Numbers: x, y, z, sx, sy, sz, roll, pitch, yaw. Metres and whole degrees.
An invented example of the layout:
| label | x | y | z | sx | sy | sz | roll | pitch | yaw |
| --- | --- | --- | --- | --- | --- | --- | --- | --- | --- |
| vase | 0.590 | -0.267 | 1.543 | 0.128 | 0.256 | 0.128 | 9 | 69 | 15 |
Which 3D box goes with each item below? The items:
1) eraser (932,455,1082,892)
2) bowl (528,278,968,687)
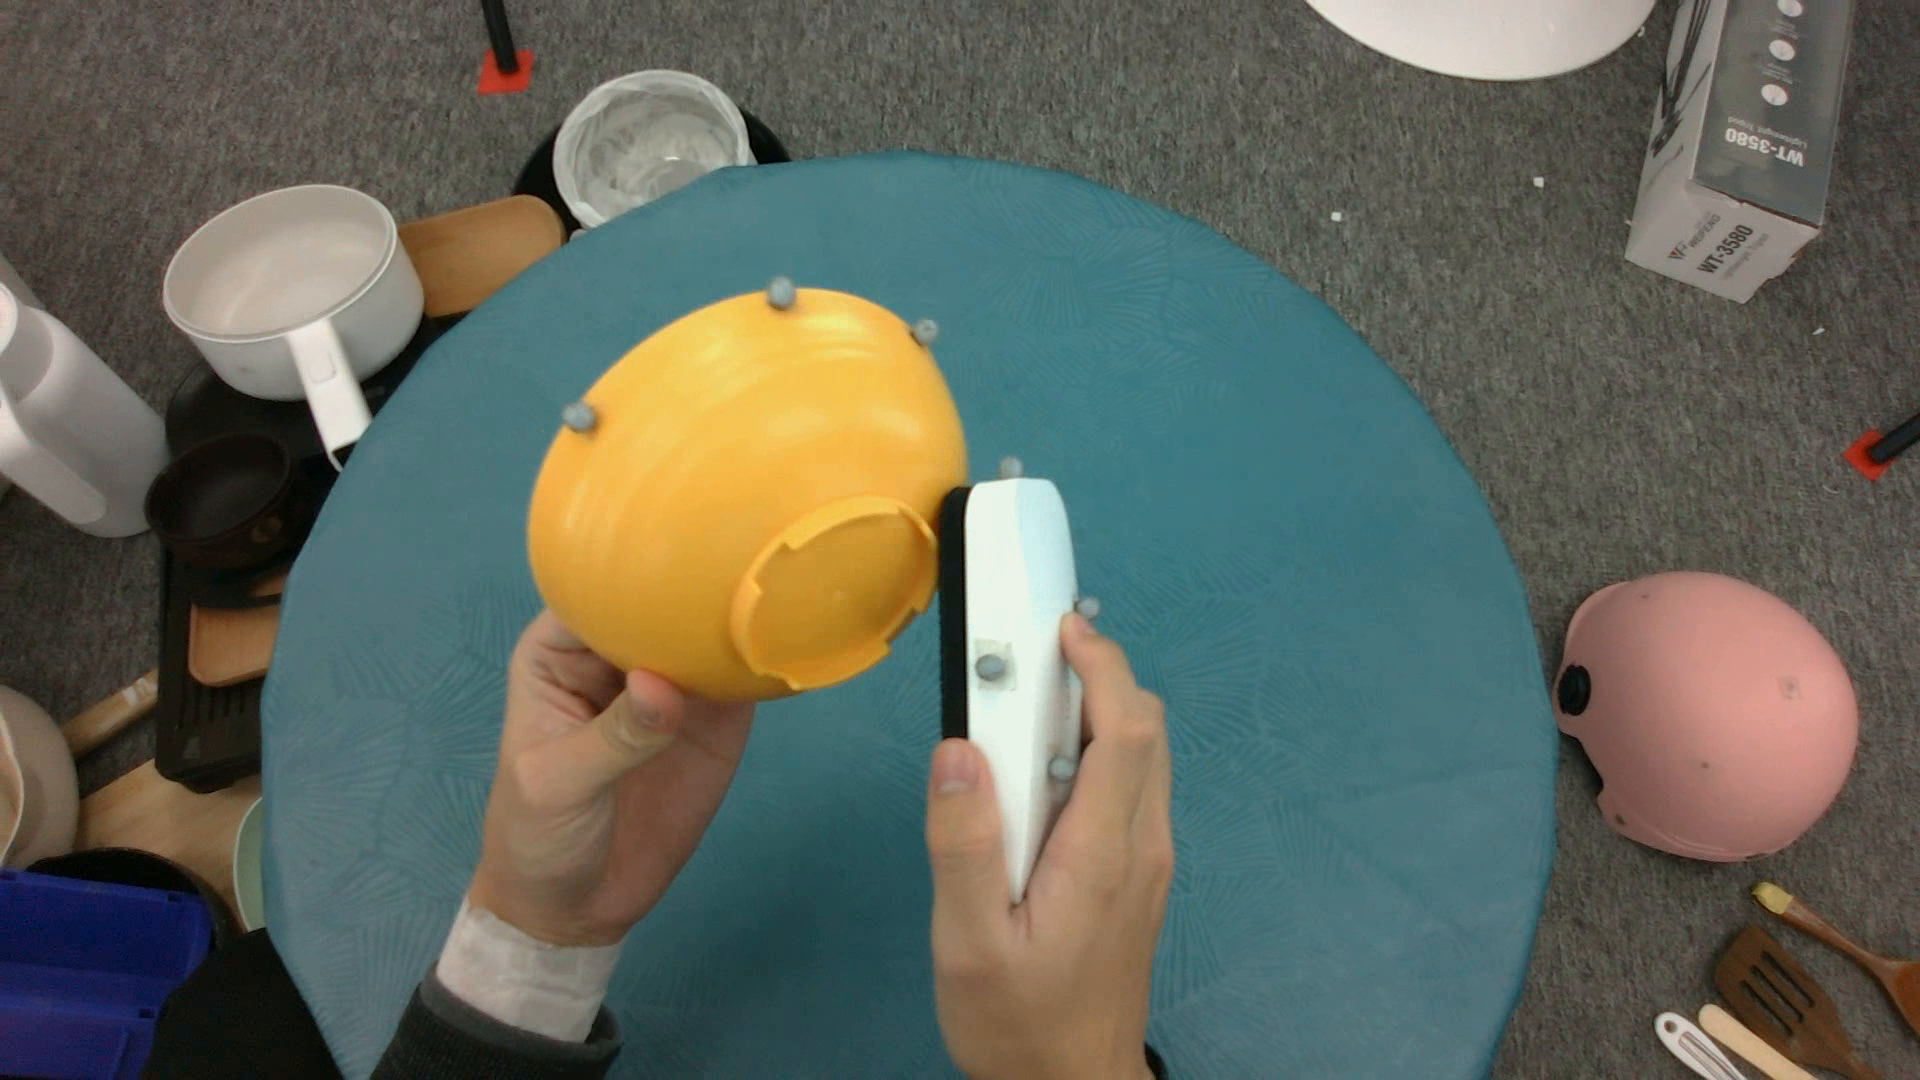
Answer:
| label | x | y | z | sx | sy | sz | roll | pitch | yaw |
| --- | --- | --- | --- | --- | --- | --- | --- | --- | --- |
| eraser | 0.016 | 0.040 | 0.427 | 0.034 | 0.063 | 0.131 | 0 | 91 | 19 |
| bowl | -0.050 | -0.002 | 0.419 | 0.145 | 0.144 | 0.060 | -29 | 52 | -16 |
